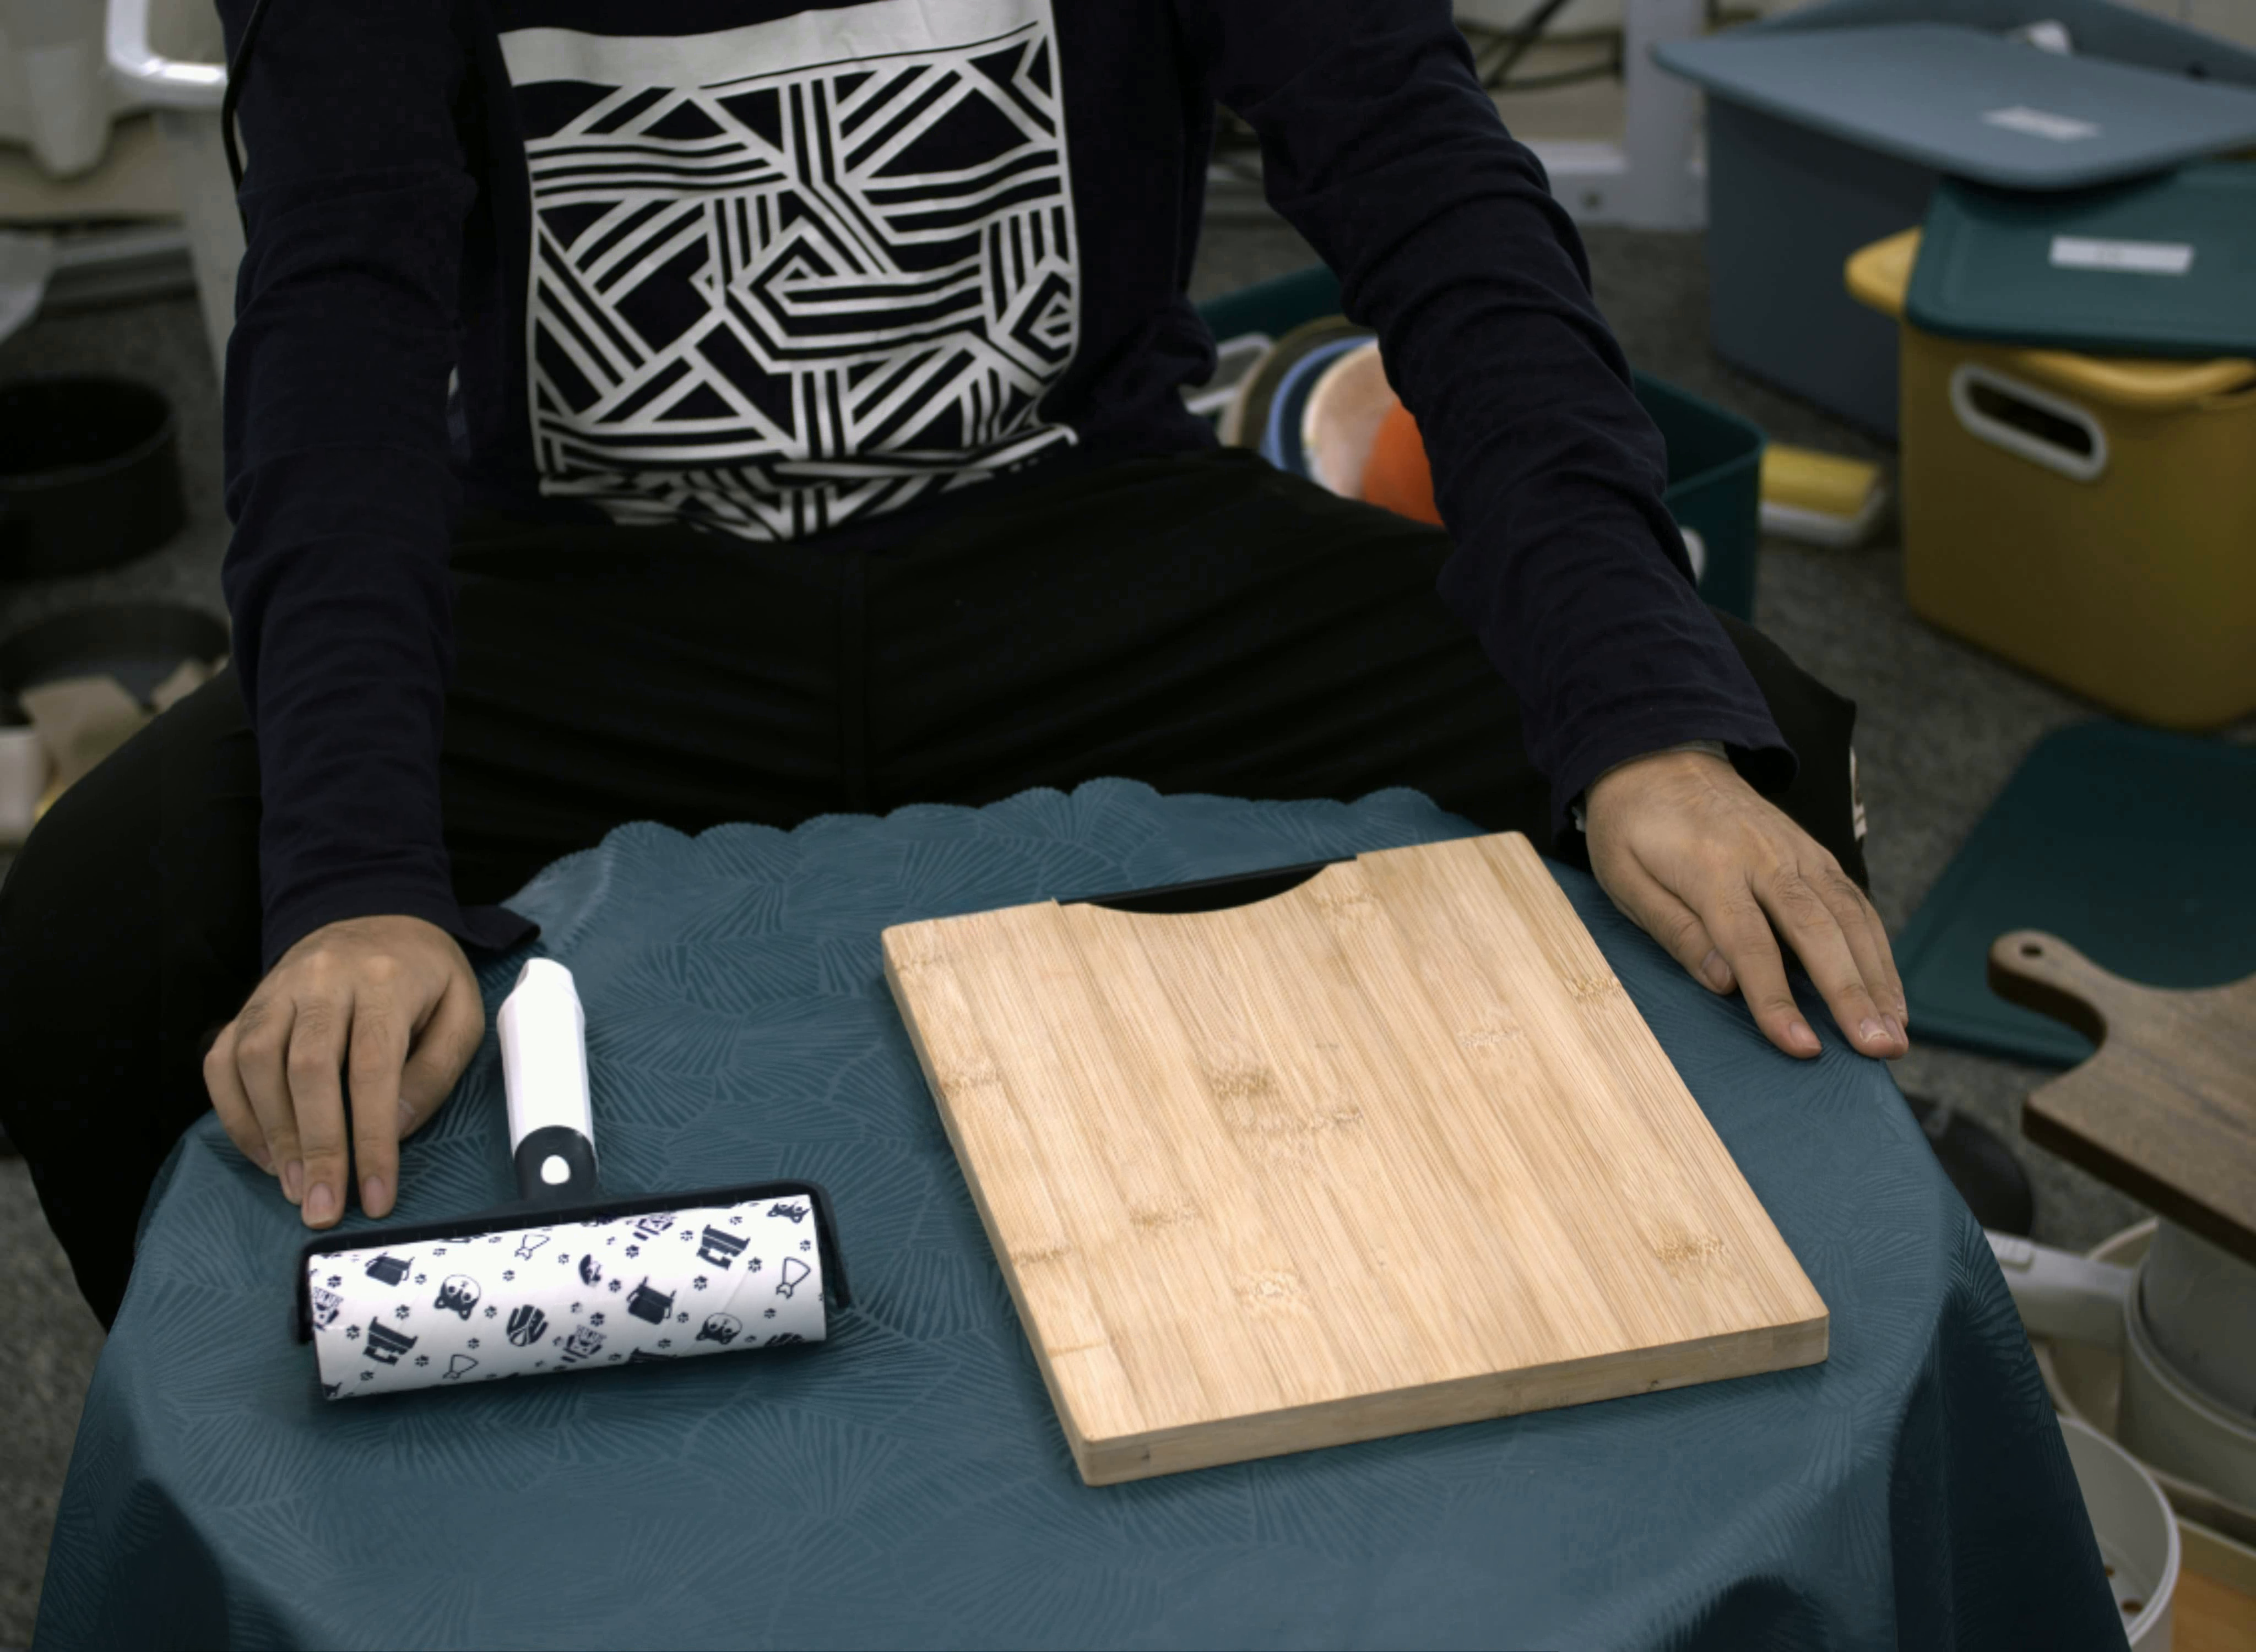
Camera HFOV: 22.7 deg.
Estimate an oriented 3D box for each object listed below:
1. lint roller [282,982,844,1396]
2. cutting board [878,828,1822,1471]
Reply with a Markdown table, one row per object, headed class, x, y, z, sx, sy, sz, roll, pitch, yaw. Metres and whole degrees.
| class | x | y | z | sx | sy | sz | roll | pitch | yaw |
| --- | --- | --- | --- | --- | --- | --- | --- | --- | --- |
| lint roller | -0.193 | 0.106 | 1.865 | 0.176 | 0.050 | 0.250 | -7 | 25 | -6 |
| cutting board | 0.063 | 0.101 | 1.878 | 0.250 | 0.023 | 0.352 | -8 | 28 | -11 |
